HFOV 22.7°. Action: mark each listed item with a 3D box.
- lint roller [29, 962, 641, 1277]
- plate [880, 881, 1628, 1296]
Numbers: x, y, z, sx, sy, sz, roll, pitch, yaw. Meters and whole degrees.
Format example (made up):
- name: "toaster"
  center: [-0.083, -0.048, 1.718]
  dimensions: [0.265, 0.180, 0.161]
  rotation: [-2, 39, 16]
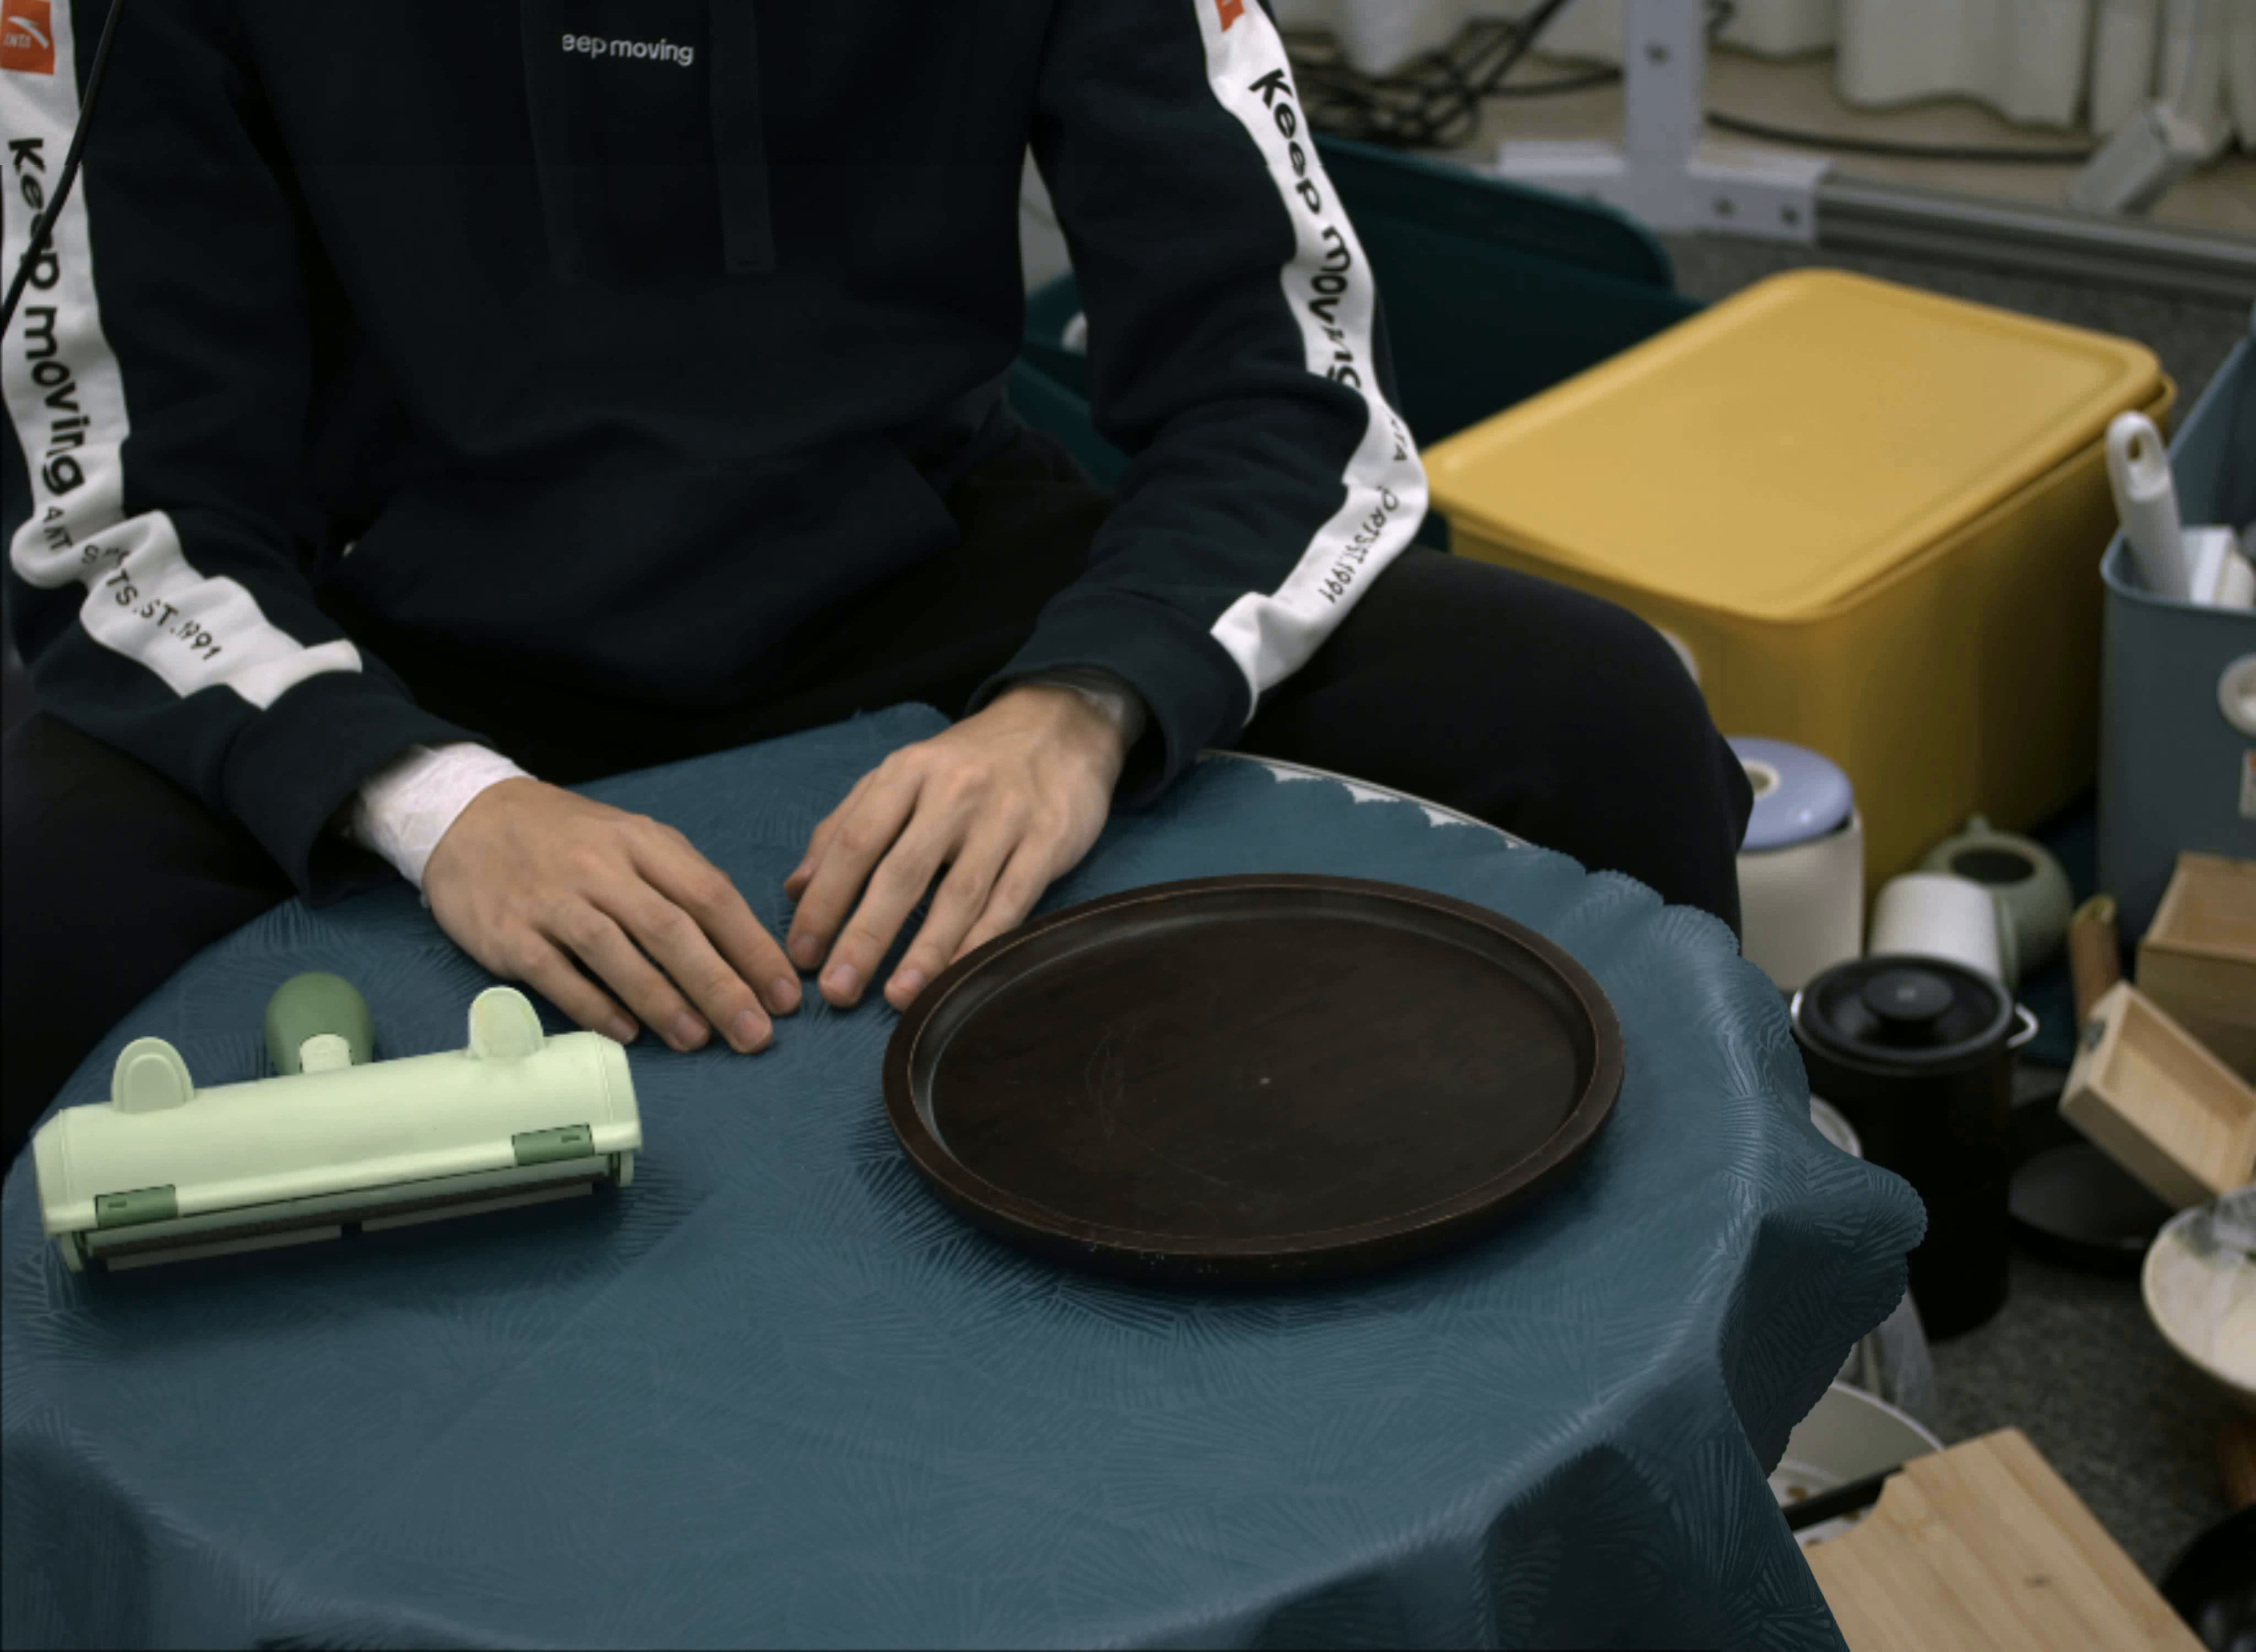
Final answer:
- name: "lint roller"
  center: [-0.272, 0.074, 1.892]
  dimensions: [0.198, 0.081, 0.185]
  rotation: [-8, 31, -10]
- name: "plate"
  center: [0.042, 0.086, 1.898]
  dimensions: [0.253, 0.029, 0.259]
  rotation: [-3, 29, 2]
